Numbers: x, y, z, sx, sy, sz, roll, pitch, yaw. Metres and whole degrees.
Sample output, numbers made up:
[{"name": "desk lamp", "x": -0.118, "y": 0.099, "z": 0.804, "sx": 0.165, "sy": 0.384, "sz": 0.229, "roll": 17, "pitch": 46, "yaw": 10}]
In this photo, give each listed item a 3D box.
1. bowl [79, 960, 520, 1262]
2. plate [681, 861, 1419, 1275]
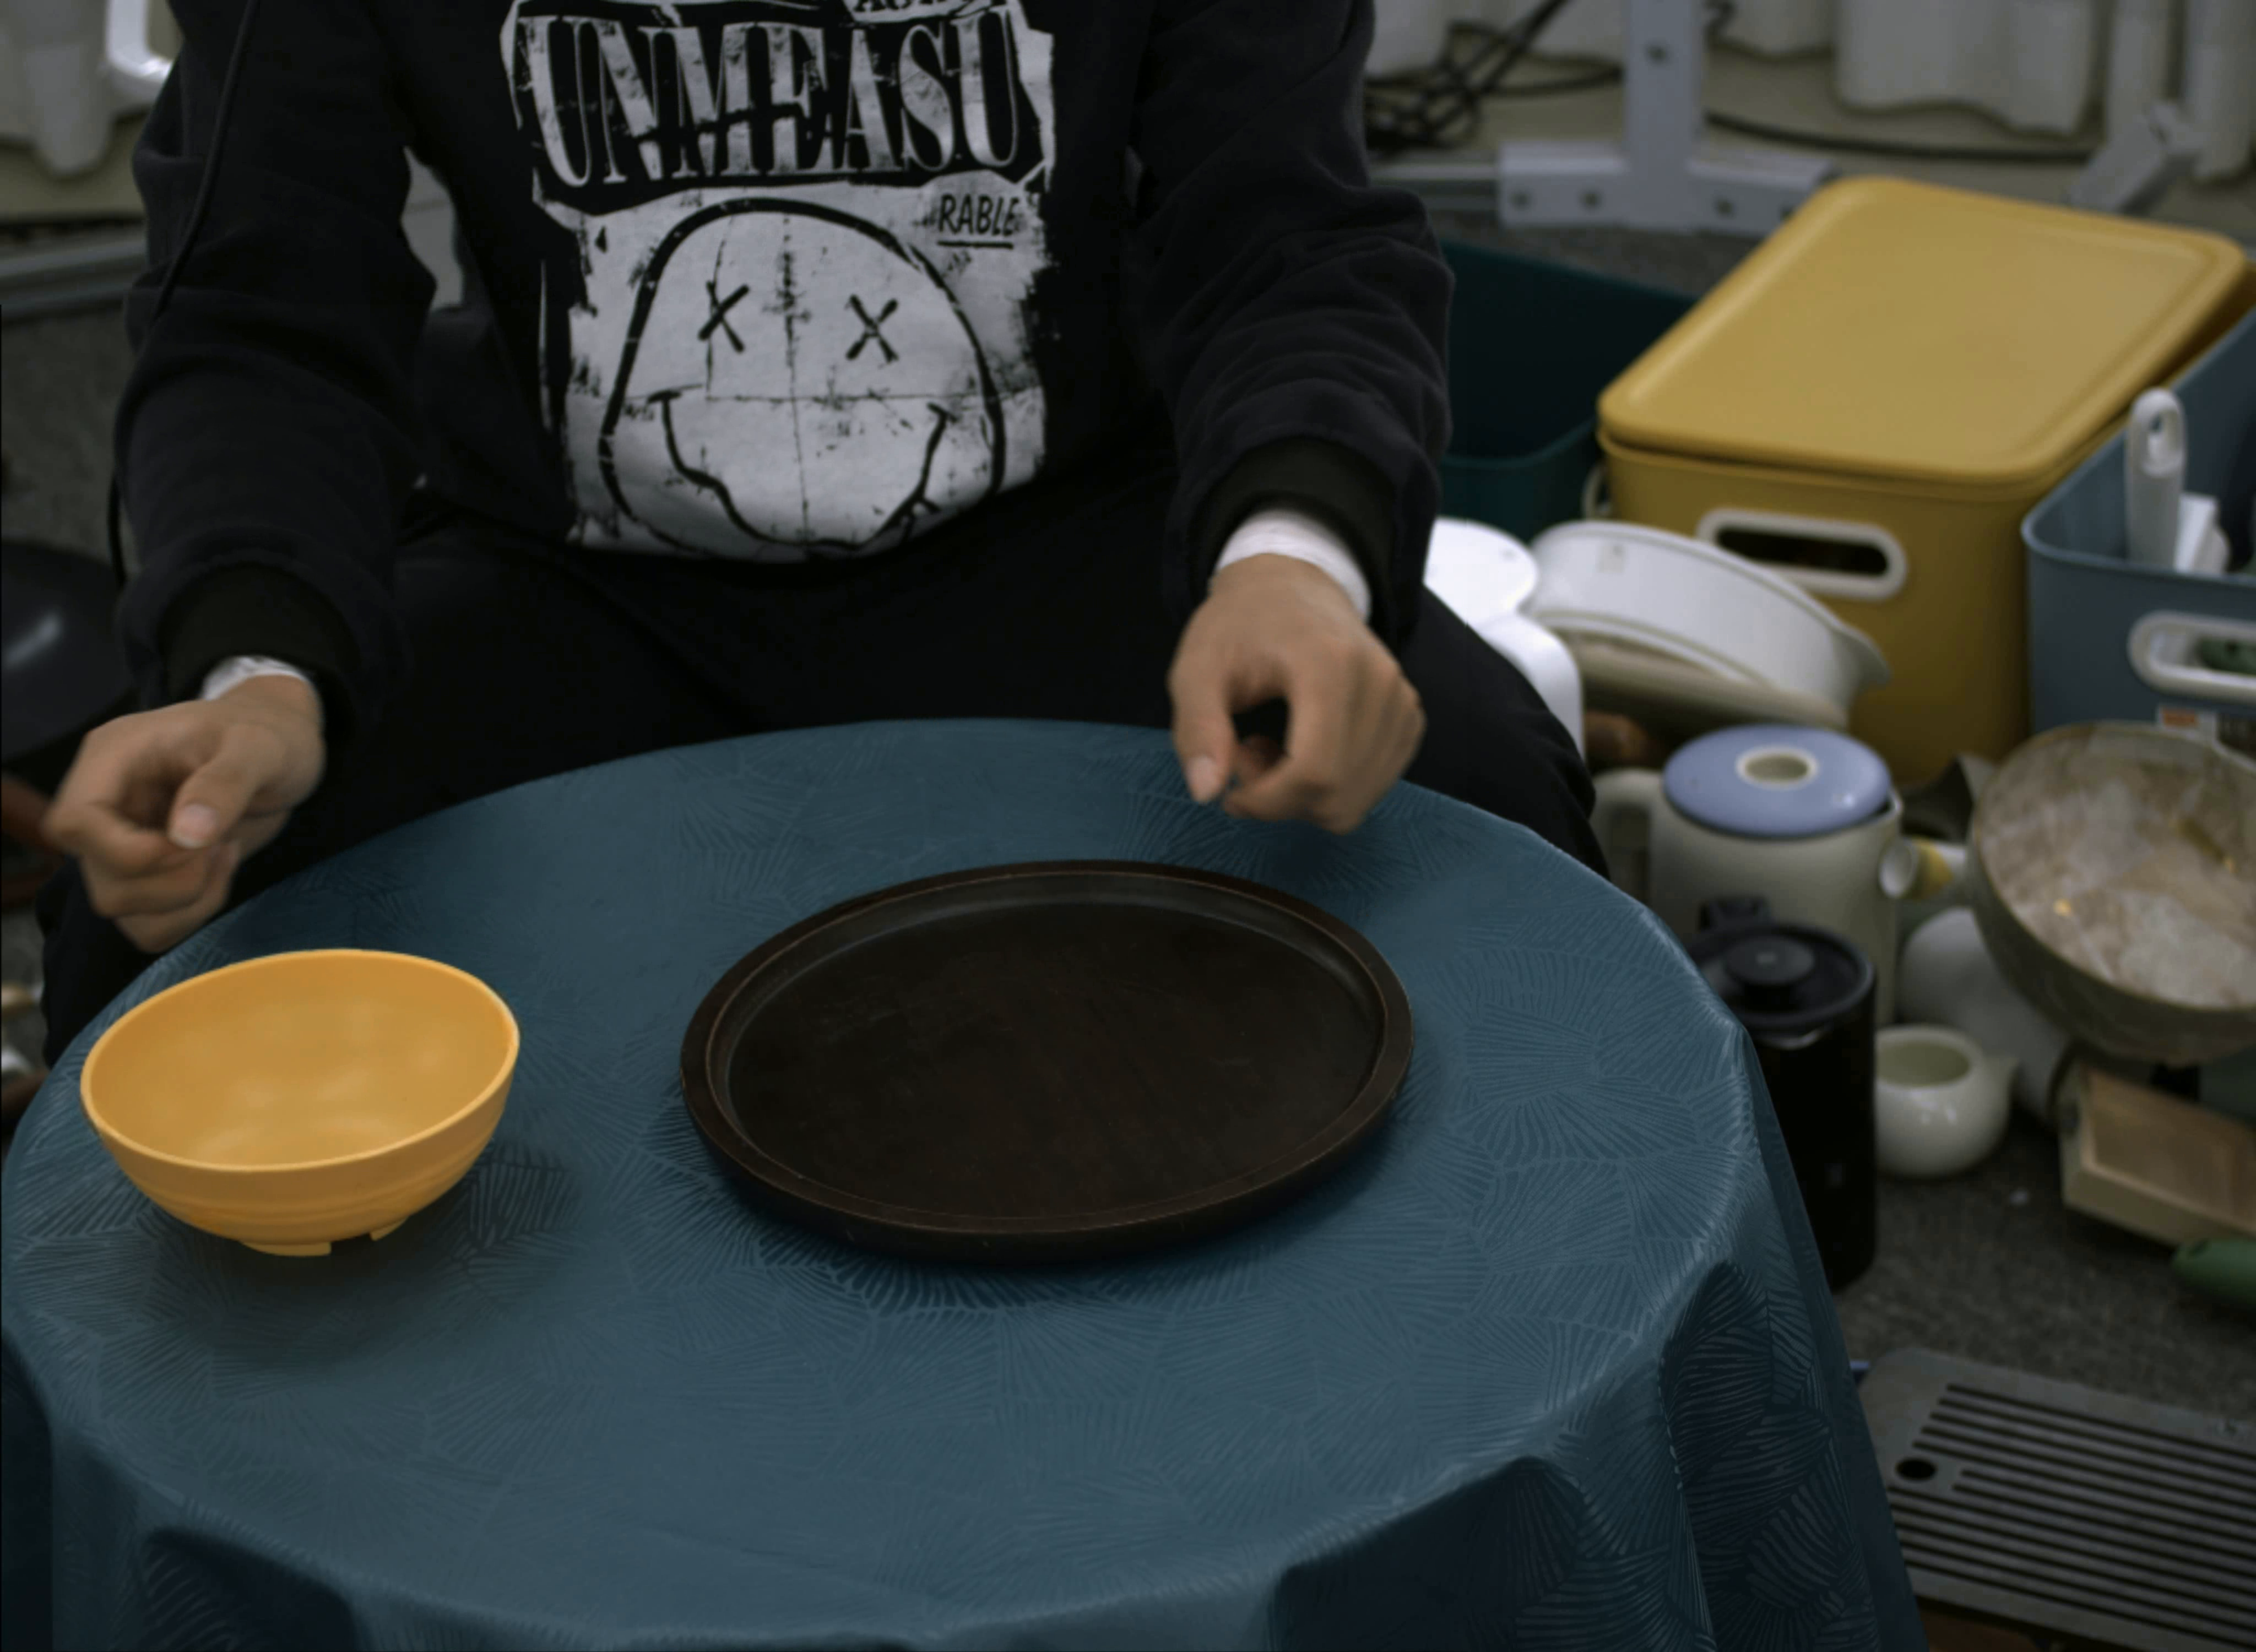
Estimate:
[{"name": "bowl", "x": -0.272, "y": 0.103, "z": 1.863, "sx": 0.144, "sy": 0.059, "sz": 0.147, "roll": -1, "pitch": 25, "yaw": 1}, {"name": "plate", "x": -0.026, "y": 0.081, "z": 1.918, "sx": 0.253, "sy": 0.029, "sz": 0.258, "roll": -4, "pitch": 27, "yaw": 2}]
